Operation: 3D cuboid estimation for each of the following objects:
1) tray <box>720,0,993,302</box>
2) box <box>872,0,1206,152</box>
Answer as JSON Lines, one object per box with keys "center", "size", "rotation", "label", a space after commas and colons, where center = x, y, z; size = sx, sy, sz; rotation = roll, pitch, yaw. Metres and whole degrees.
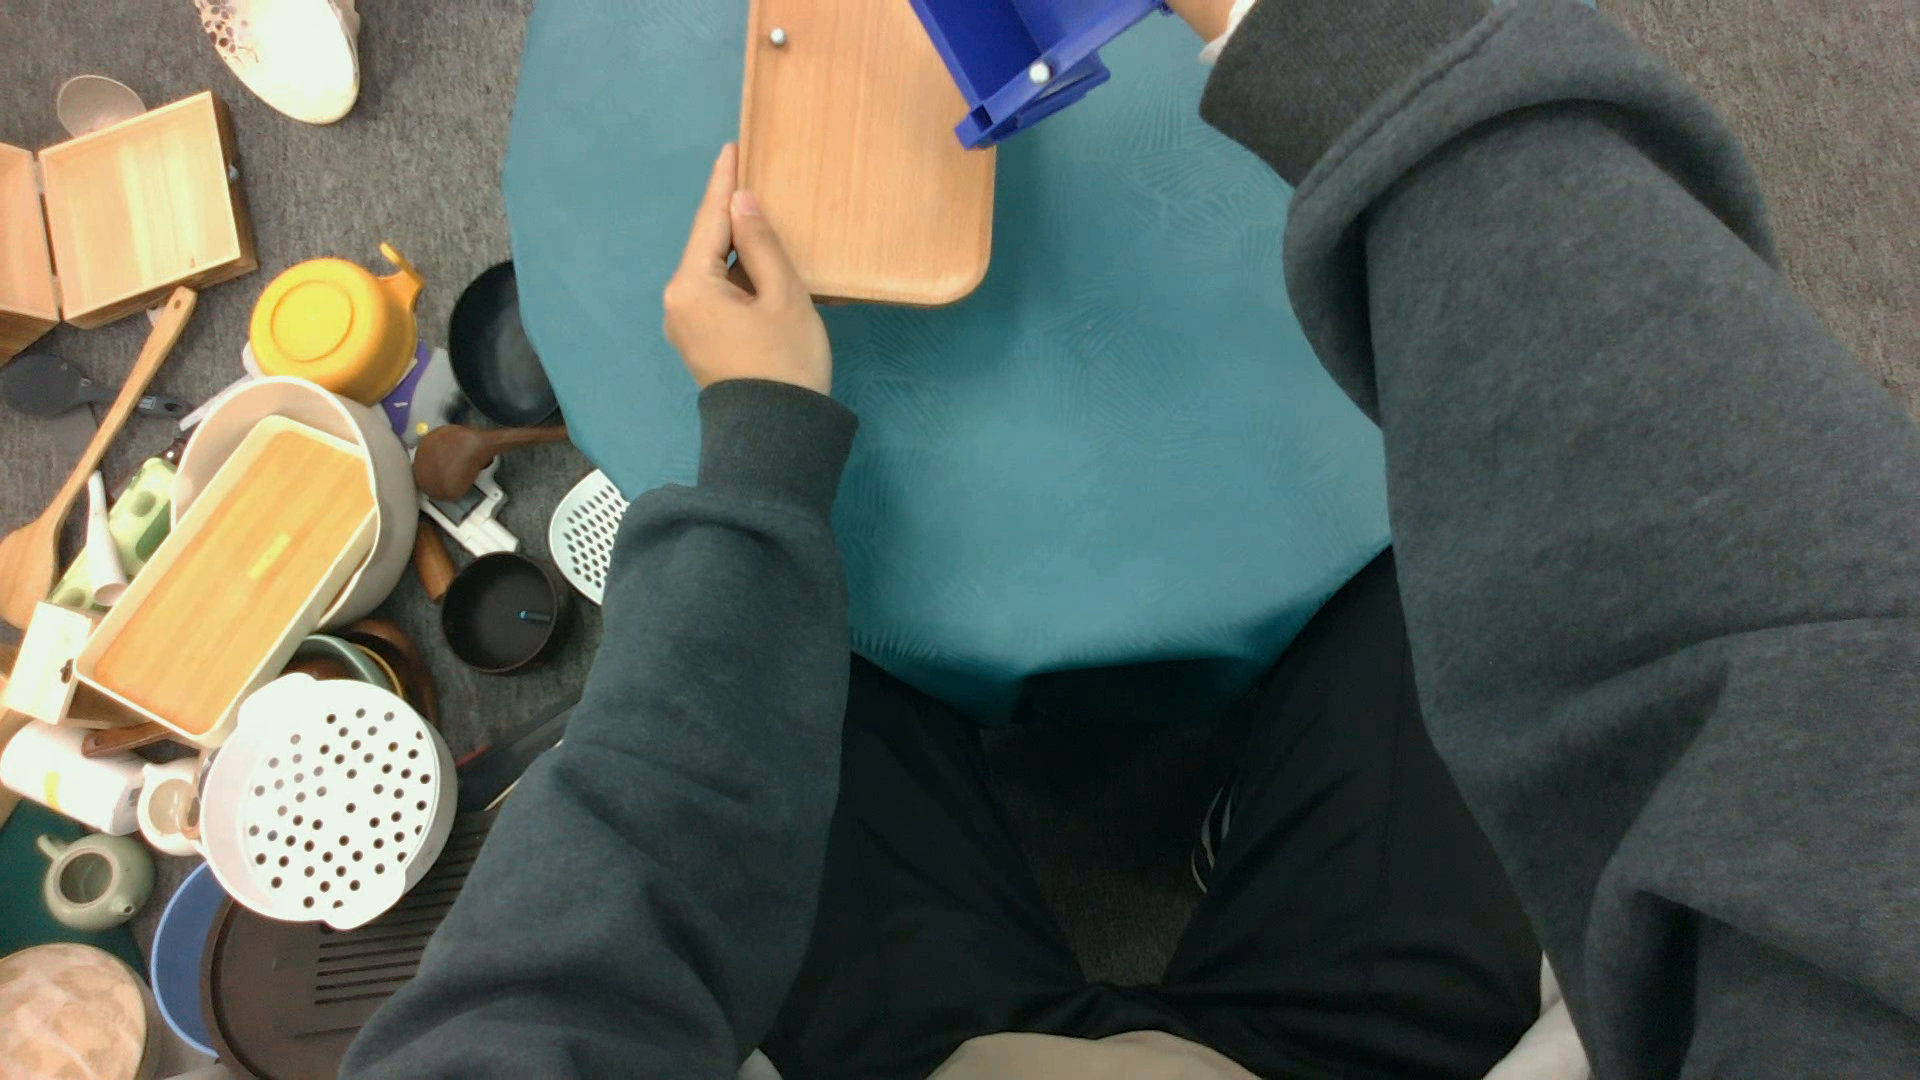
{"center": [-0.049, -0.241, 0.700], "size": [0.130, 0.023, 0.251], "rotation": [4, 79, -2], "label": "tray"}
{"center": [0.020, -0.247, 0.567], "size": [0.082, 0.178, 0.124], "rotation": [-41, 105, -42], "label": "box"}
